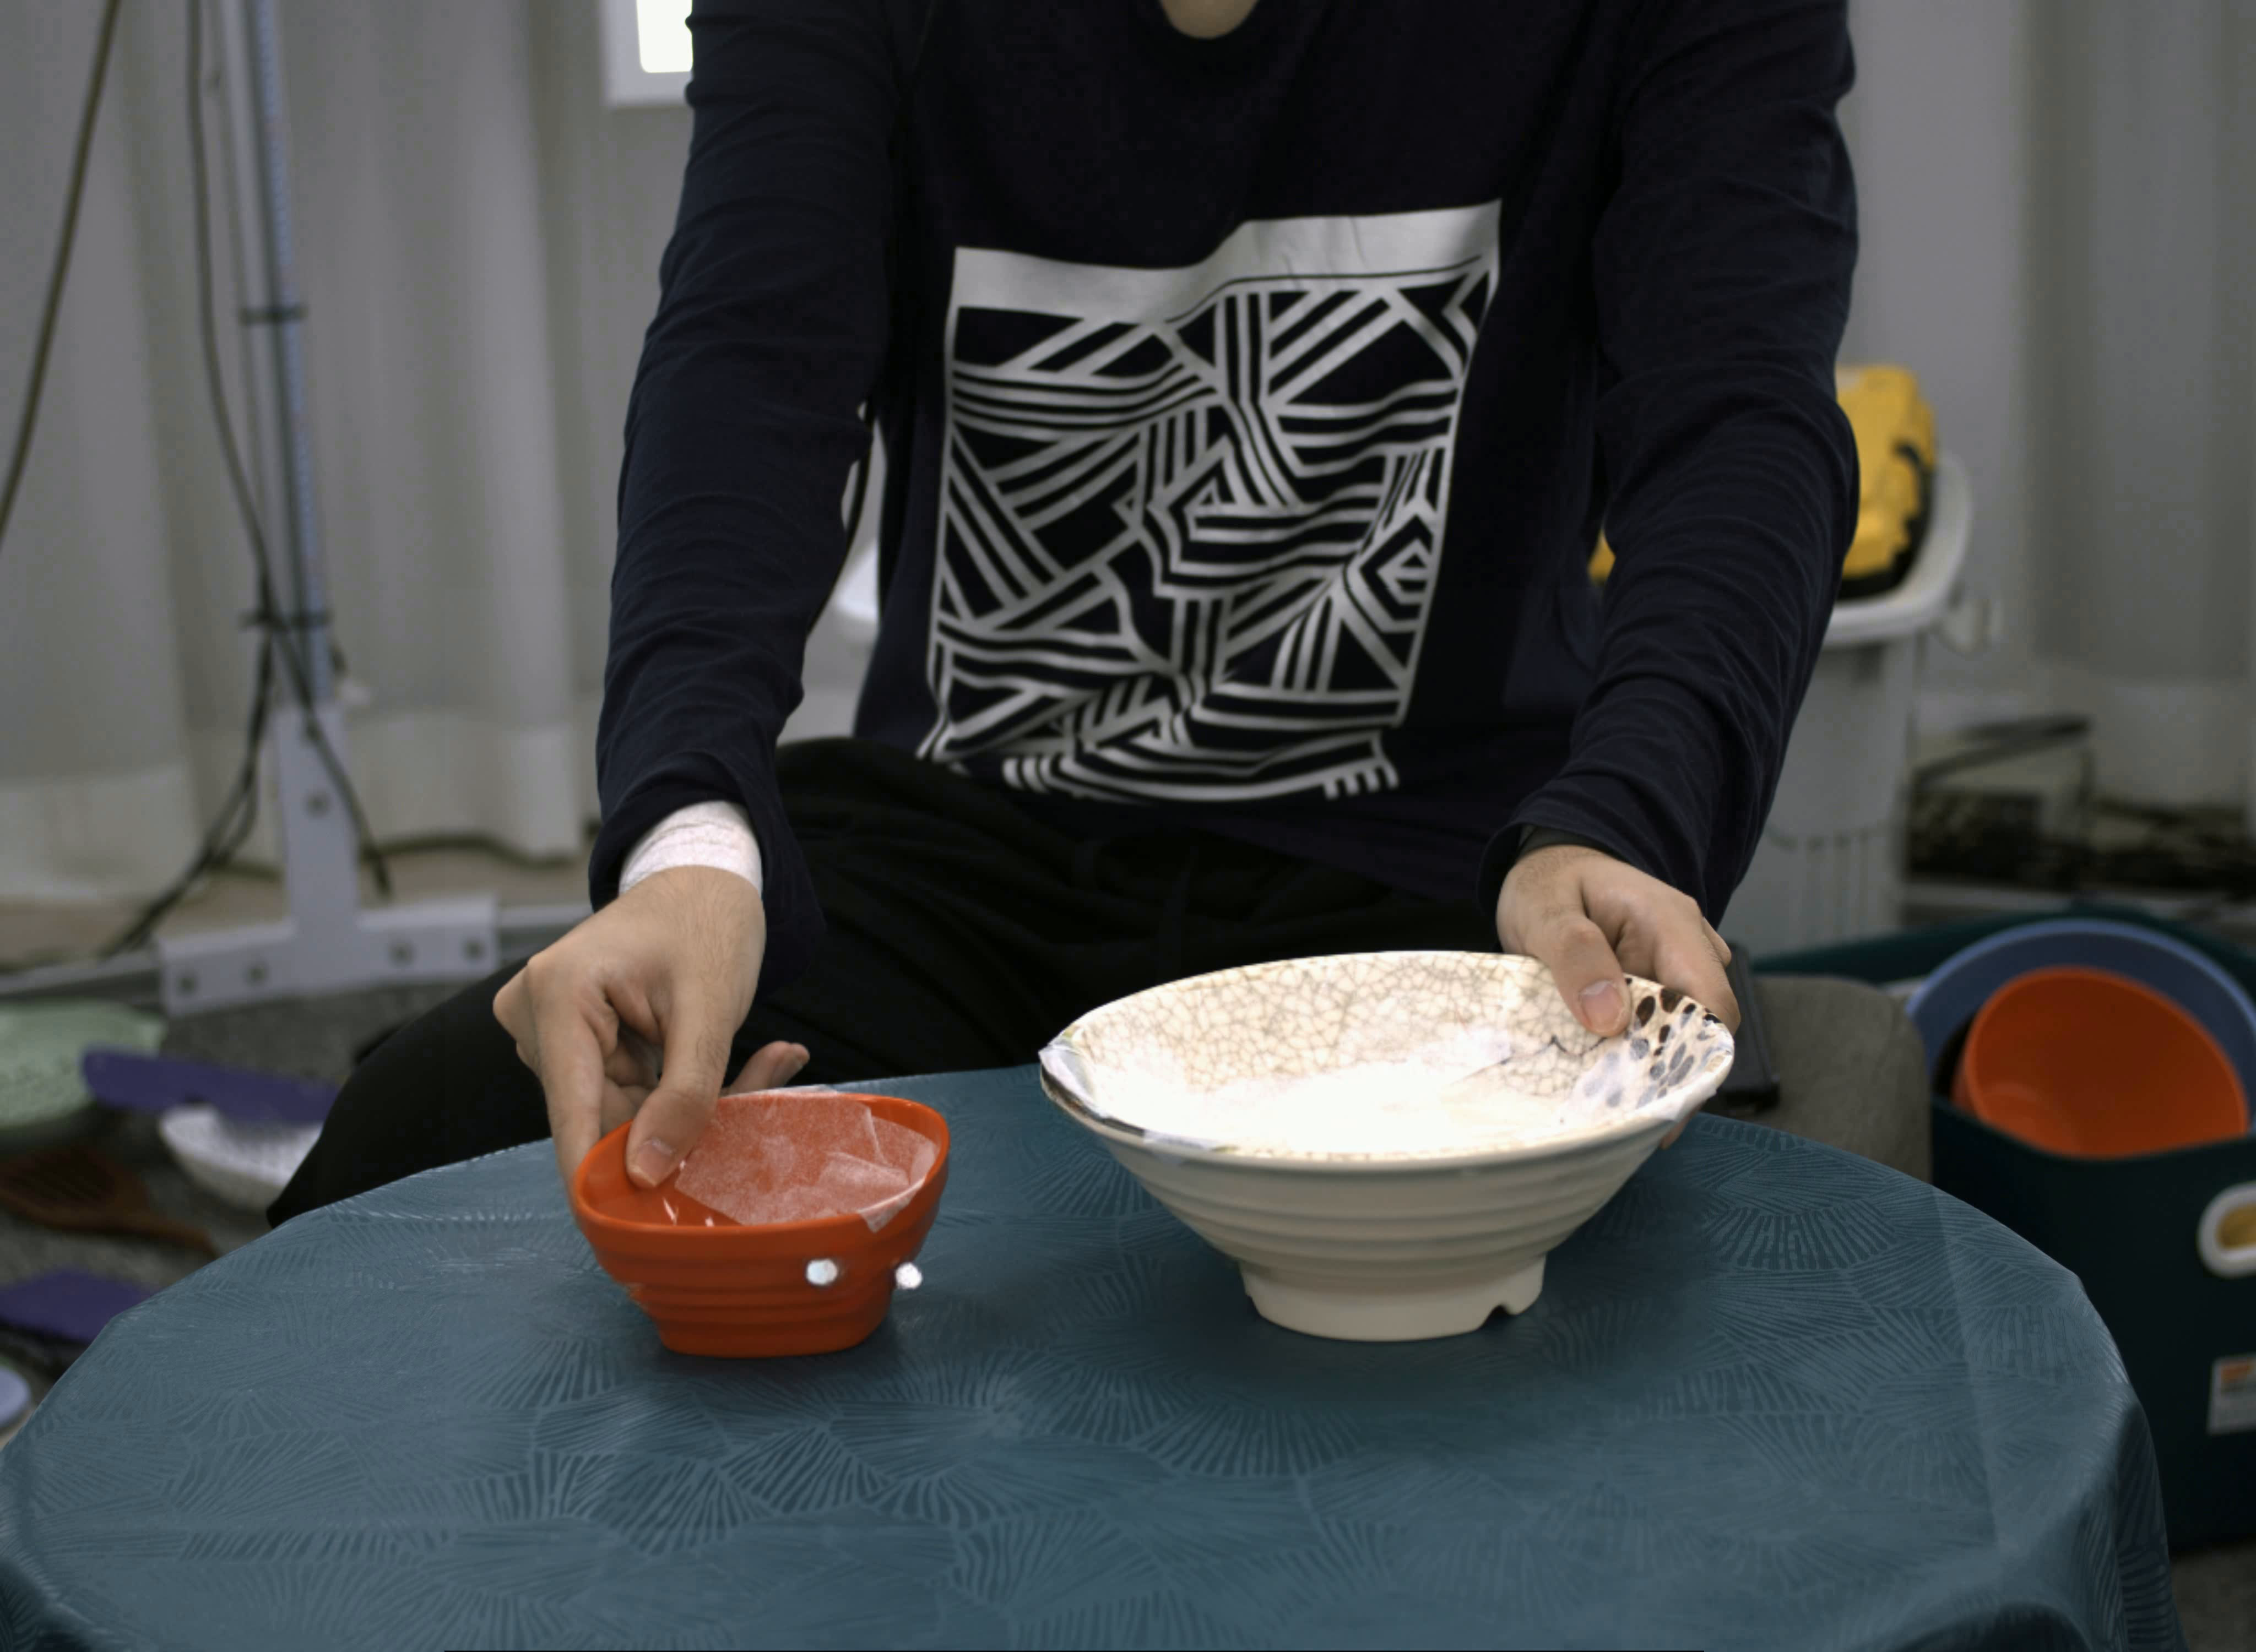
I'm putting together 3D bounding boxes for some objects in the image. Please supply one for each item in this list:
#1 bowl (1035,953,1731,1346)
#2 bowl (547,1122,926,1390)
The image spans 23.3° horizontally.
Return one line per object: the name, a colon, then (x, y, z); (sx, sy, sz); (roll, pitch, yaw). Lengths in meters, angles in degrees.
bowl: (0.075, 0.102, 1.605); (0.203, 0.077, 0.205); (-2, 14, 0)
bowl: (-0.116, 0.130, 1.615); (0.118, 0.051, 0.120); (2, 17, -1)
